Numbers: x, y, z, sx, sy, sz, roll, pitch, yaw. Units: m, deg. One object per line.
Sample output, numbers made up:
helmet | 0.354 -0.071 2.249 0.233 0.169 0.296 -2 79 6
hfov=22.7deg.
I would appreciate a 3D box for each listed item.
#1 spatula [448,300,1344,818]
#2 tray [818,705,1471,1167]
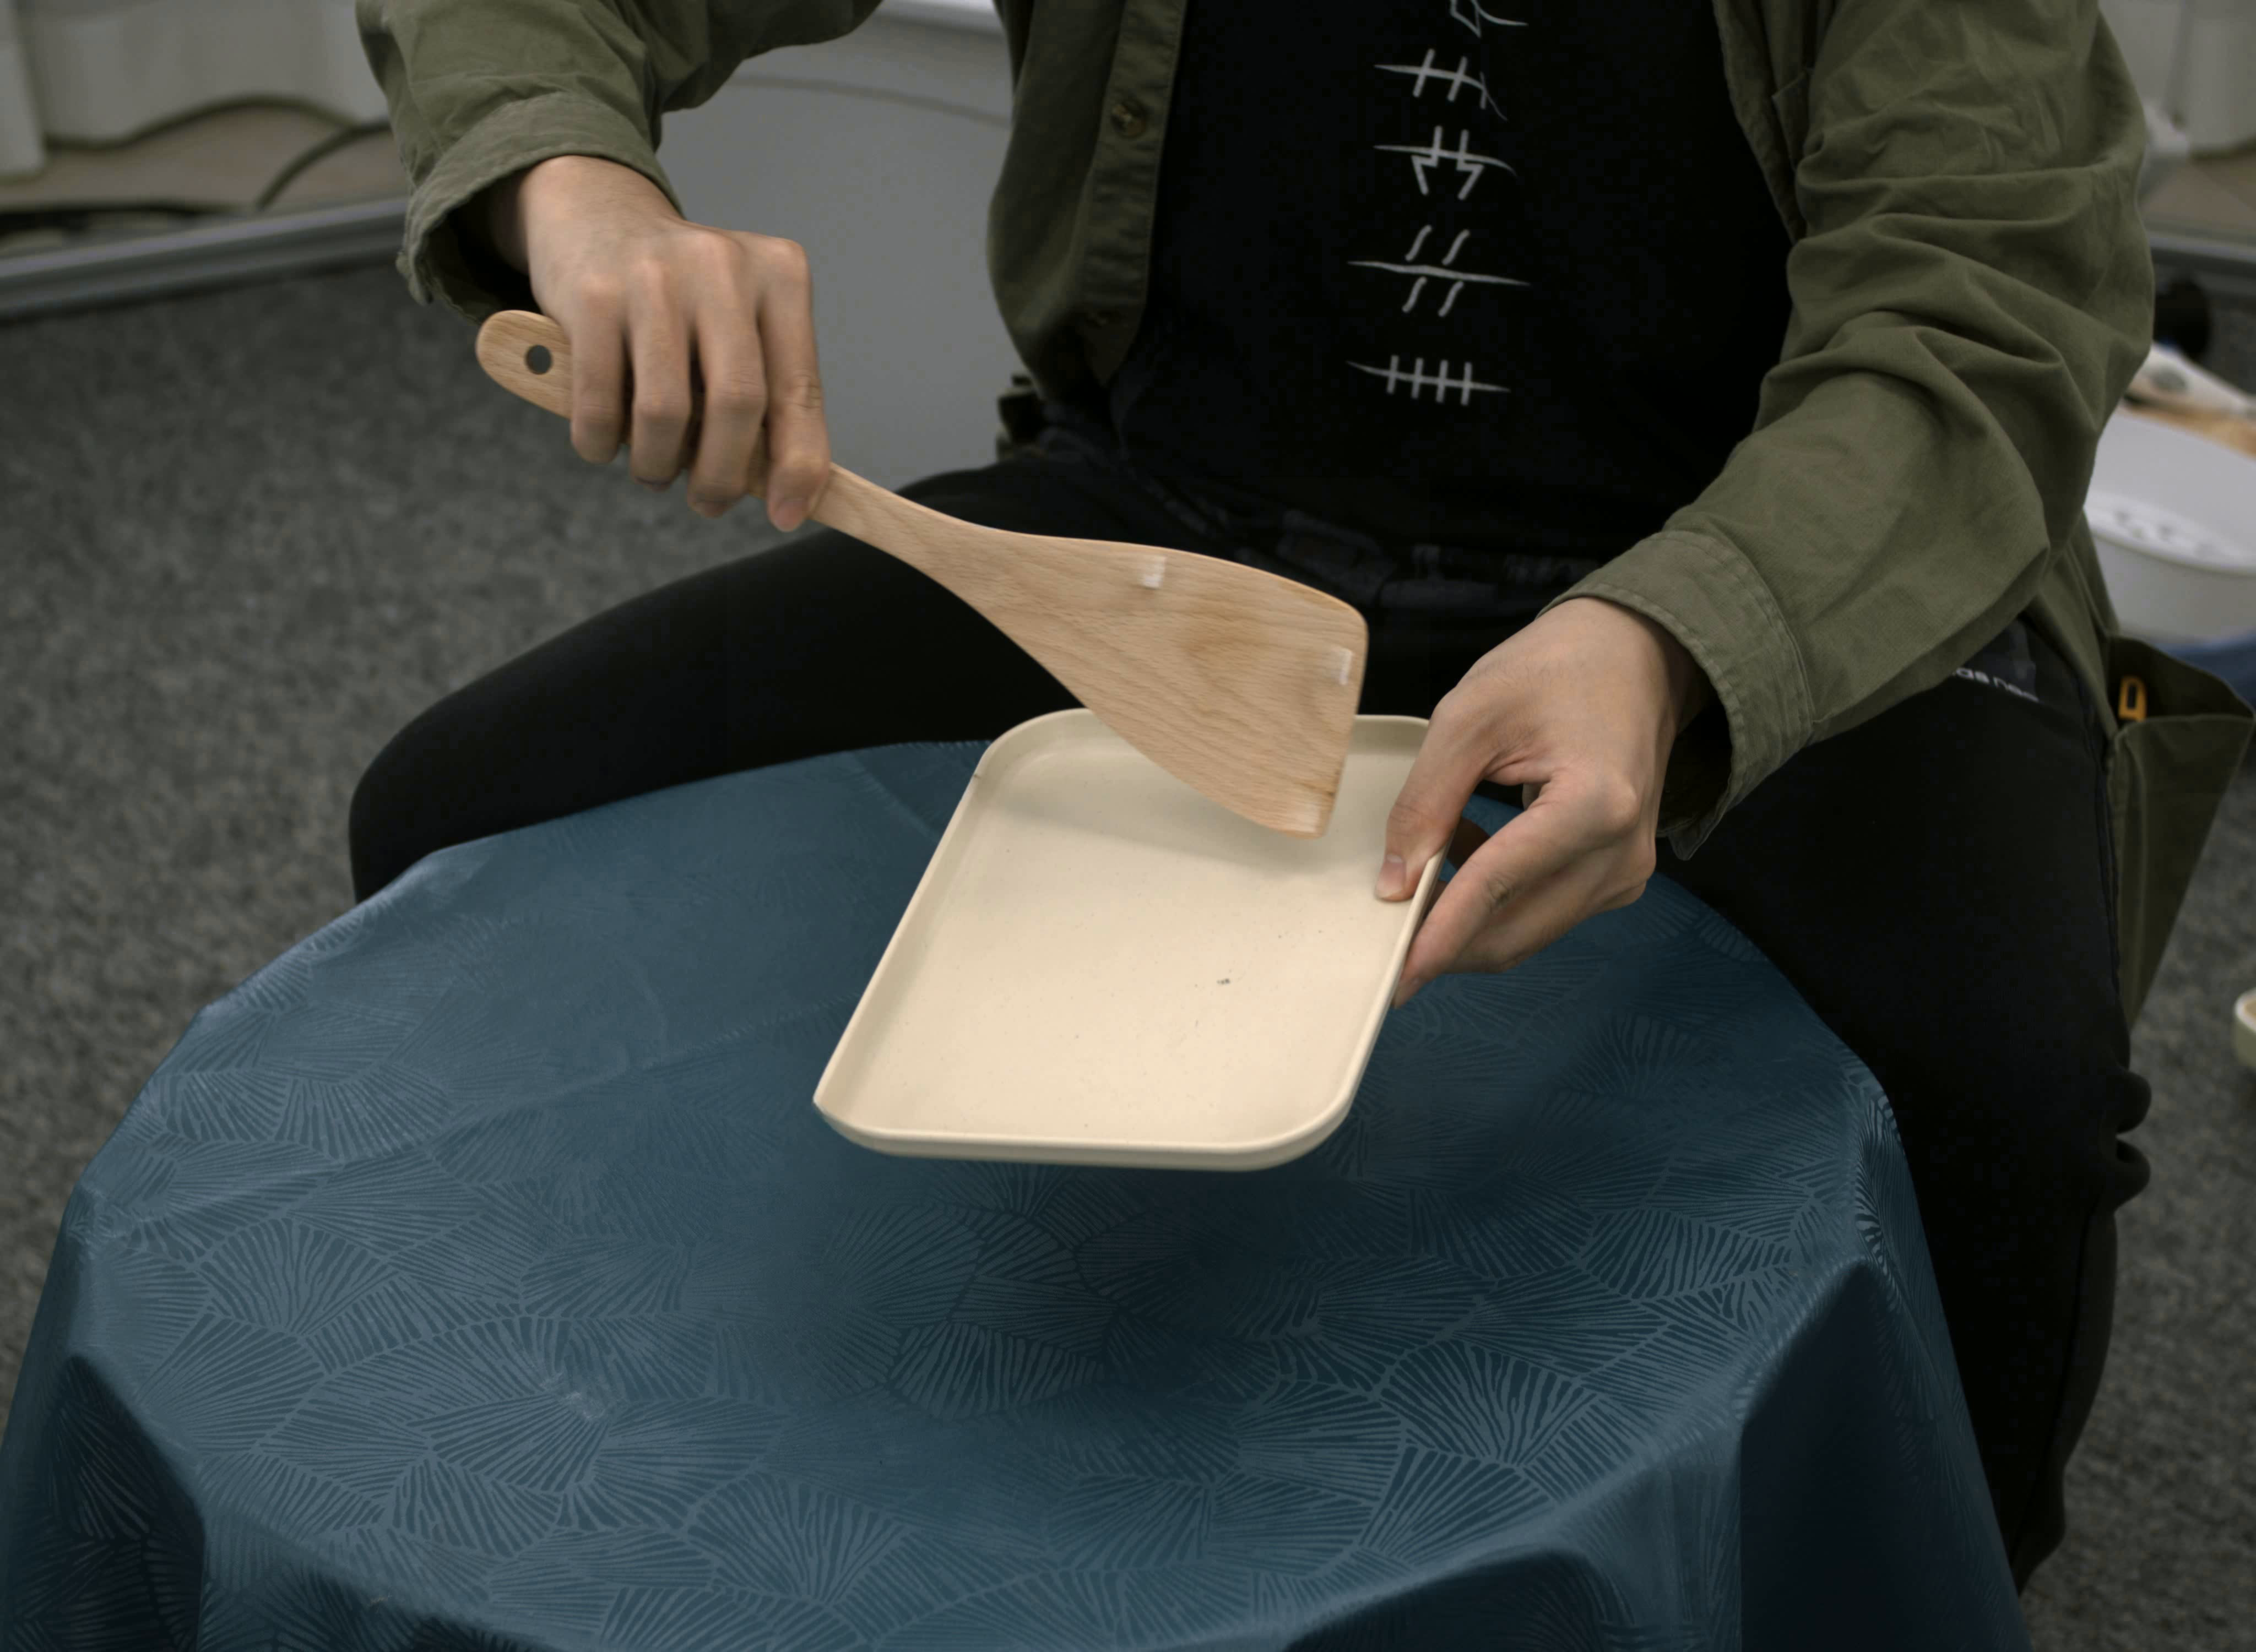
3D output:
spatula | -0.077 -0.101 1.835 0.327 0.079 0.016 24 14 9
tray | 0.009 0.034 1.790 0.170 0.017 0.244 2 34 16
